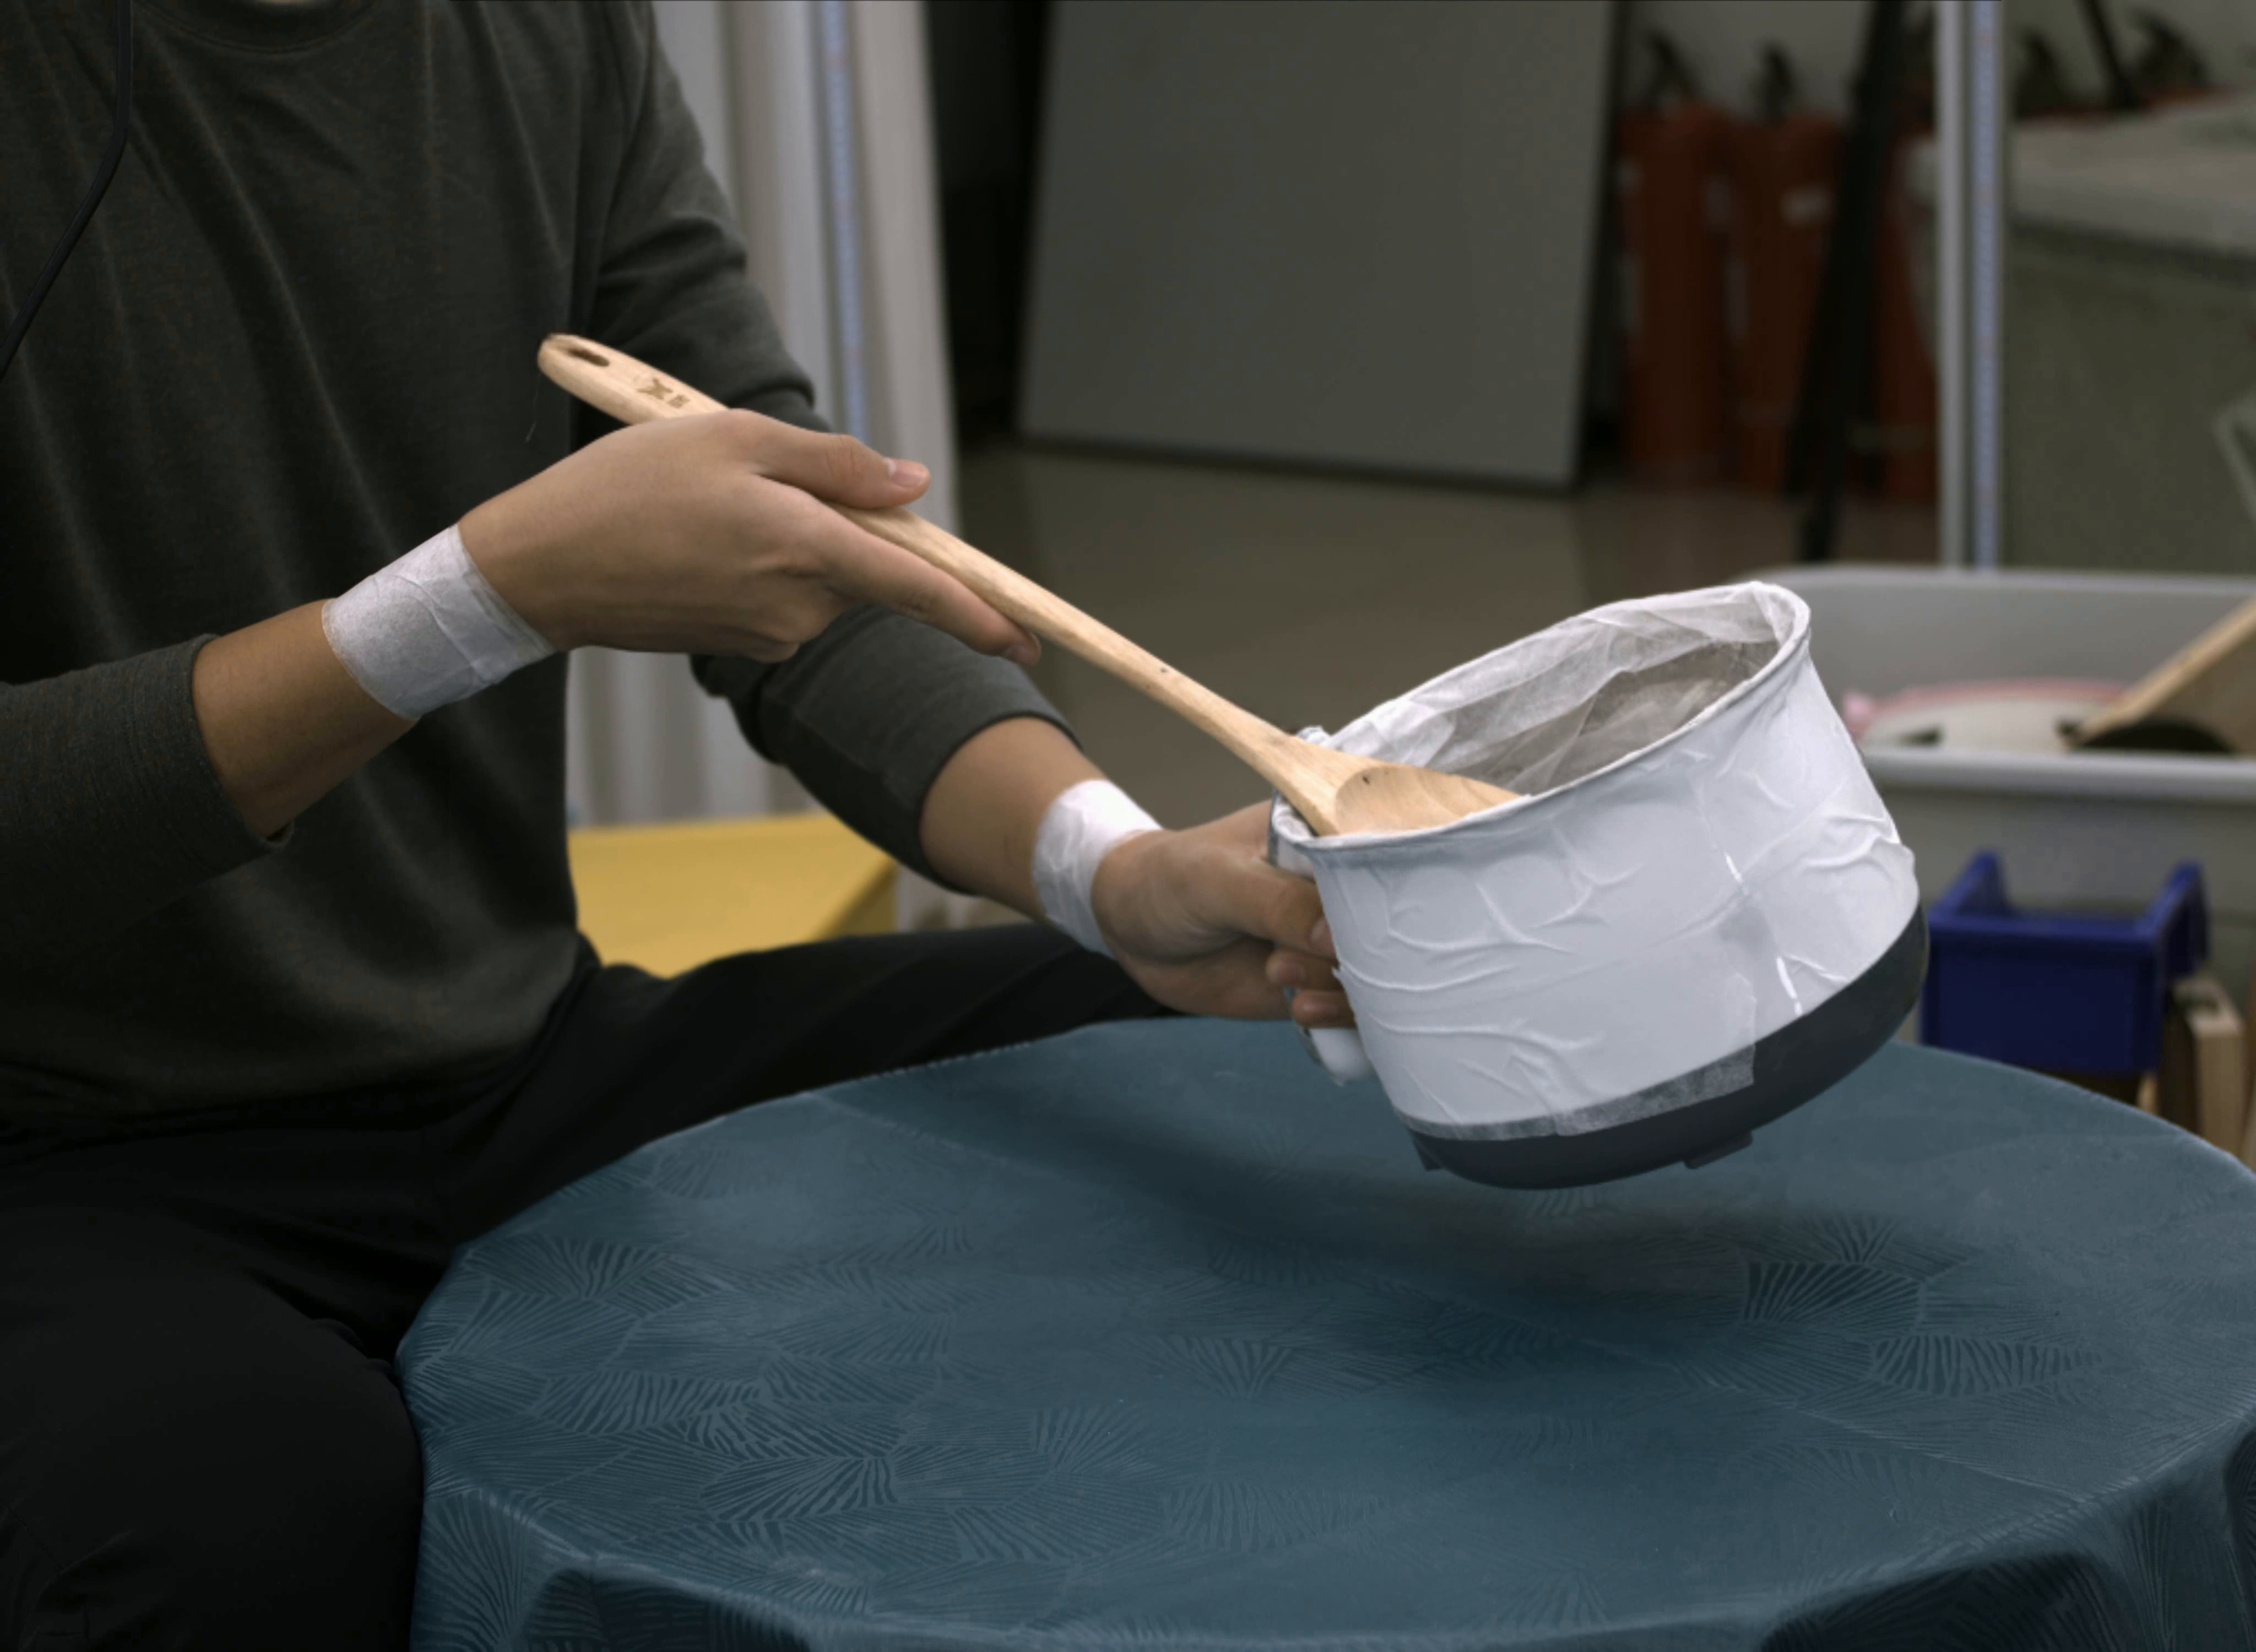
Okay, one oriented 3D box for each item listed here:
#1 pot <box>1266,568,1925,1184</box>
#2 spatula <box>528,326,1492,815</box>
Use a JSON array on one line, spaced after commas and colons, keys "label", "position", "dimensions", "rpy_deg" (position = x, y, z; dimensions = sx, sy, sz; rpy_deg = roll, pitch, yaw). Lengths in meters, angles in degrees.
[{"label": "pot", "position": [0.128, 0.021, 1.666], "dimensions": [0.236, 0.137, 0.176], "rpy_deg": [-9, 19, 46]}, {"label": "spatula", "position": [-0.022, -0.063, 1.677], "dimensions": [0.390, 0.018, 0.095], "rpy_deg": [30, 27, 11]}]
